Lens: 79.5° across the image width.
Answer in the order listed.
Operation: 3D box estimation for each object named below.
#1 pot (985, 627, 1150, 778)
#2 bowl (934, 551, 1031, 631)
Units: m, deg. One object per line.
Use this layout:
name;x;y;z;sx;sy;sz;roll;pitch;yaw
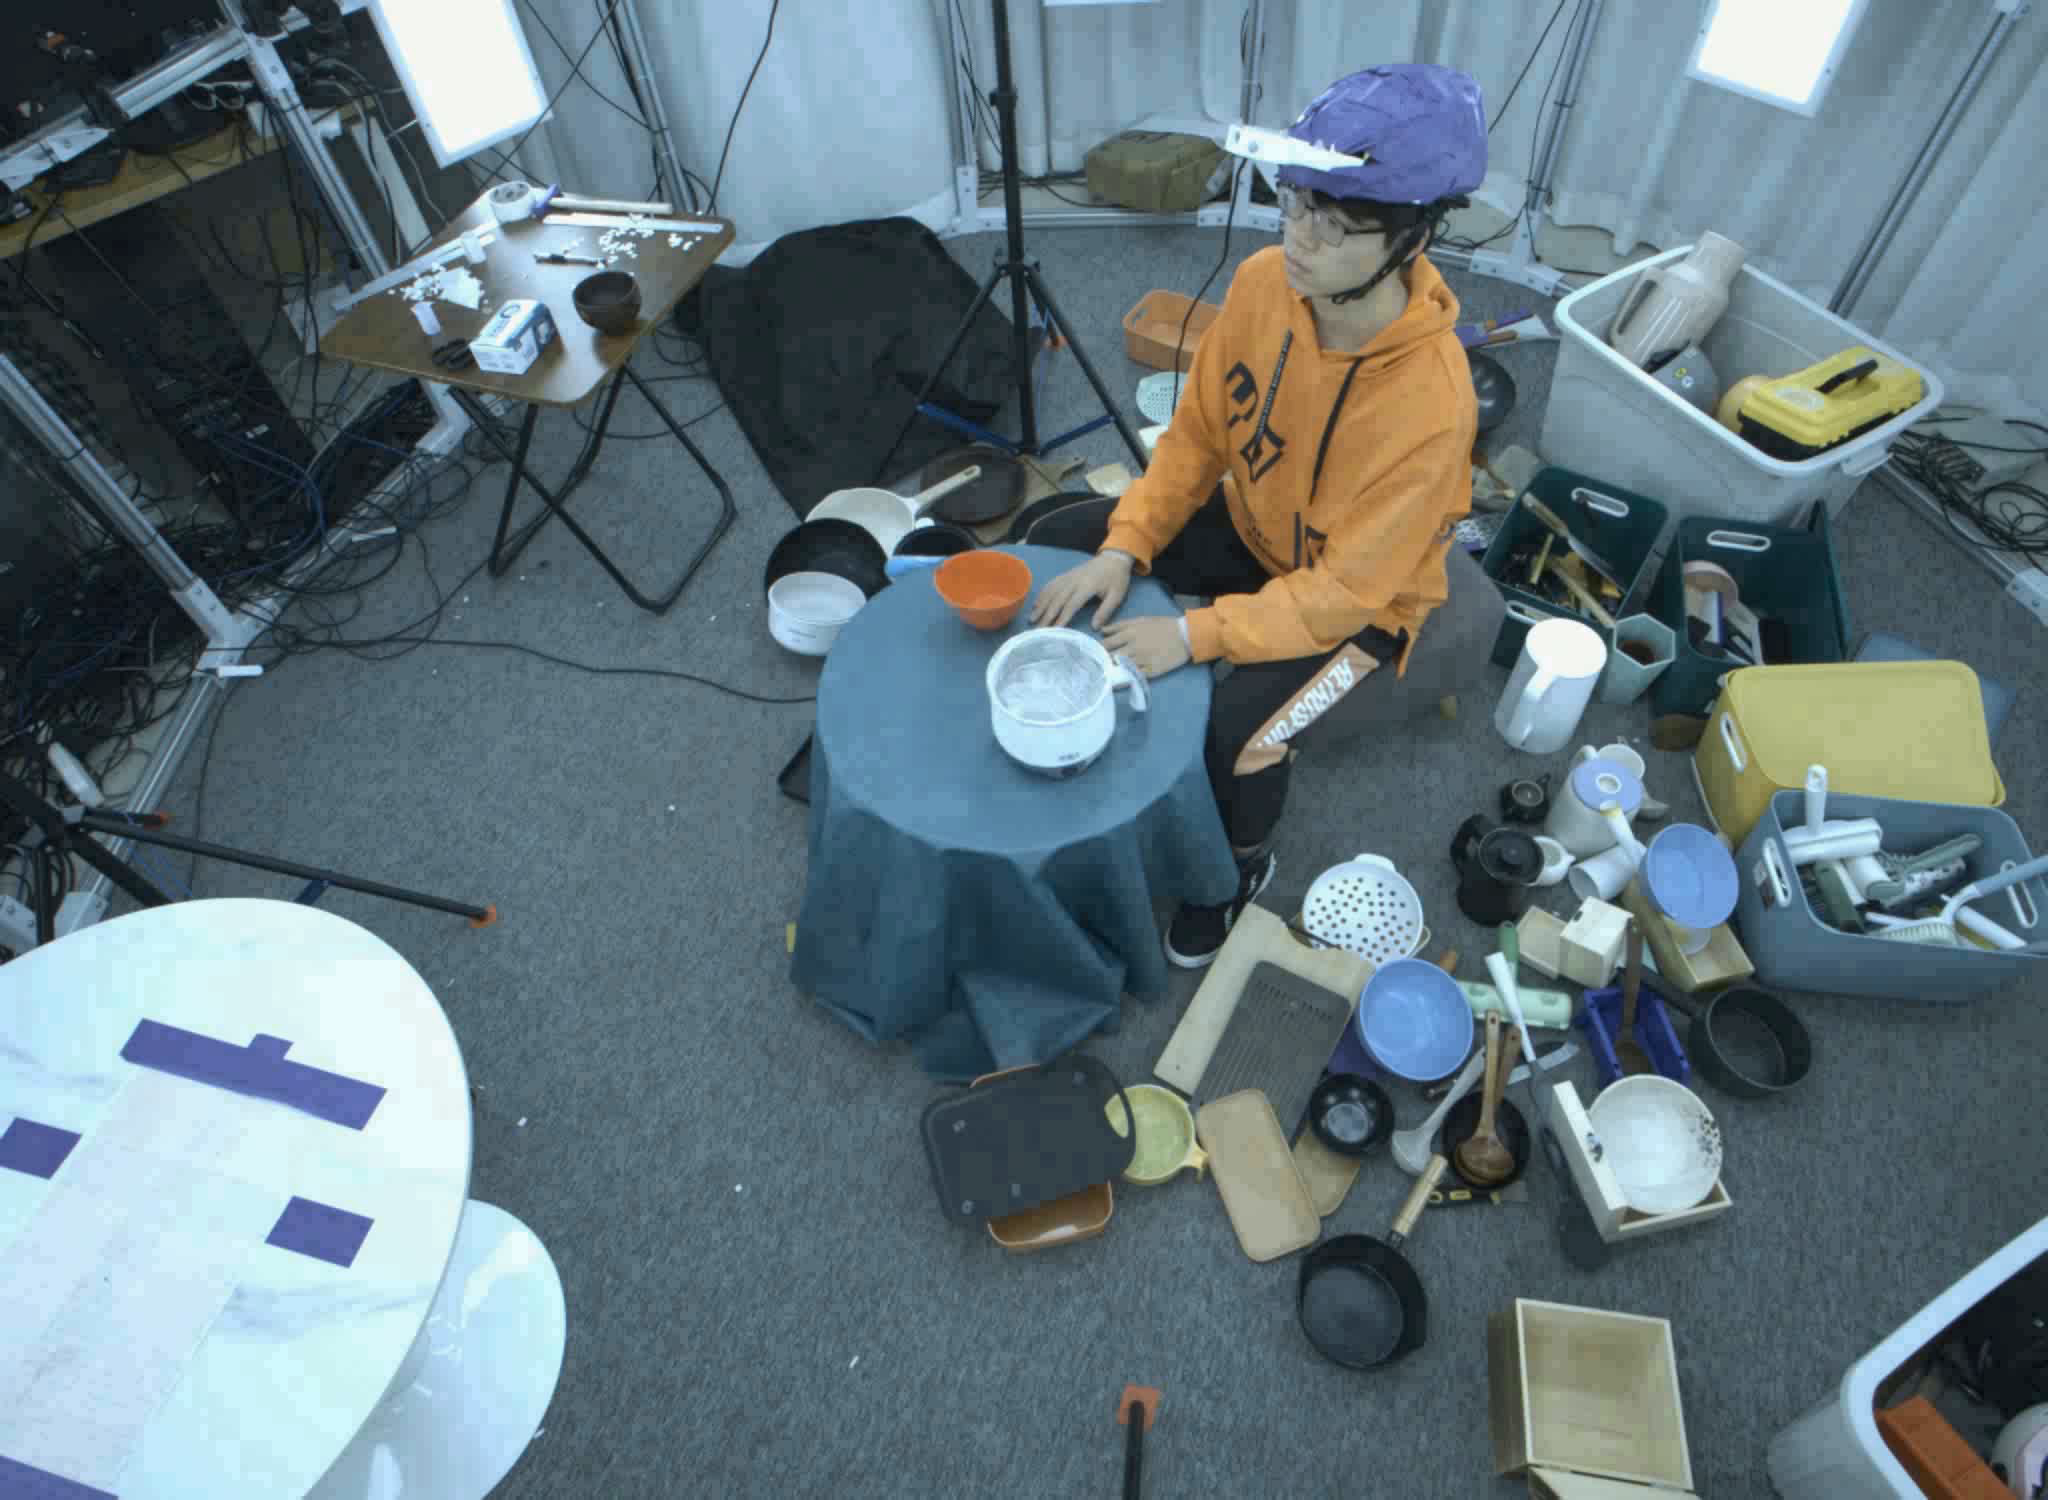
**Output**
pot;0.066;-0.074;1.752;0.235;0.138;0.176;-15;56;-7
bowl;-0.062;-0.235;1.897;0.148;0.106;0.146;0;53;1
